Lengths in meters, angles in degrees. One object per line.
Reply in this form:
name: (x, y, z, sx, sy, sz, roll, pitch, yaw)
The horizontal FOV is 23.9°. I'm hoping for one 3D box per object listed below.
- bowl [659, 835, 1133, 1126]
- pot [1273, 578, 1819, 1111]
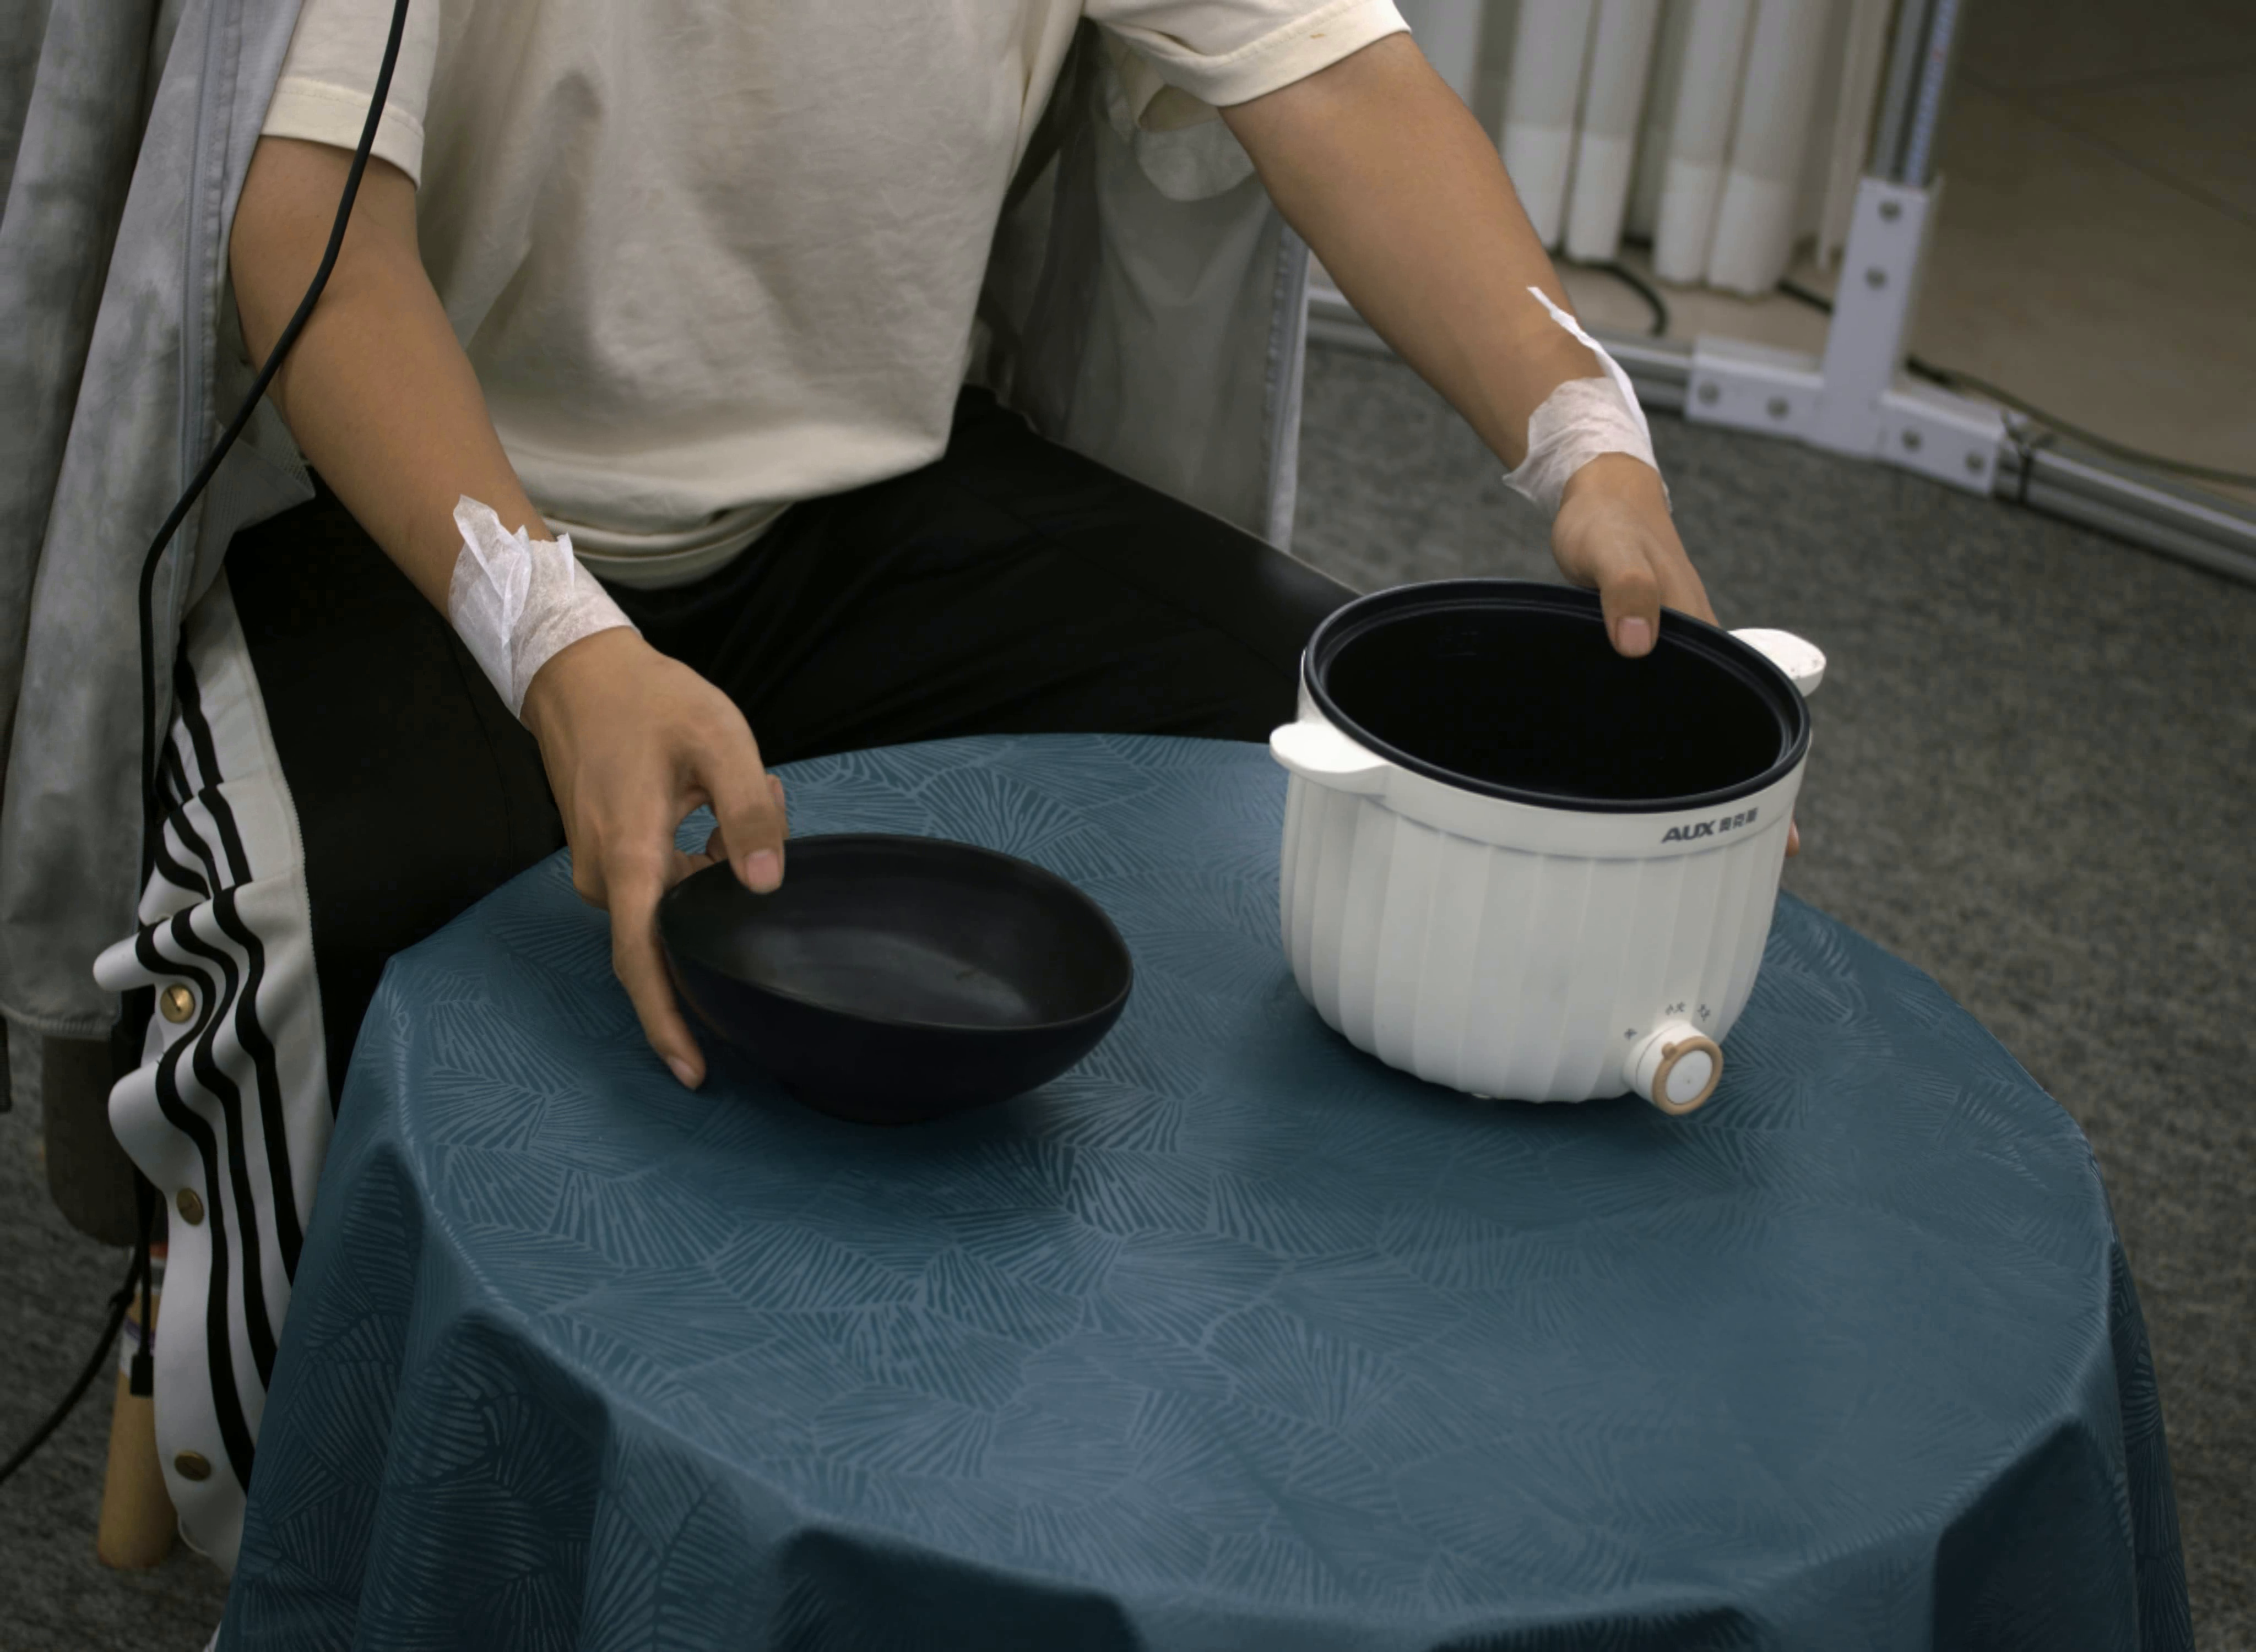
bowl: (-0.084, 0.061, 1.839, 0.170, 0.066, 0.137, 13, 26, 14)
pot: (0.149, 0.012, 1.907, 0.239, 0.142, 0.192, -13, 29, -32)
